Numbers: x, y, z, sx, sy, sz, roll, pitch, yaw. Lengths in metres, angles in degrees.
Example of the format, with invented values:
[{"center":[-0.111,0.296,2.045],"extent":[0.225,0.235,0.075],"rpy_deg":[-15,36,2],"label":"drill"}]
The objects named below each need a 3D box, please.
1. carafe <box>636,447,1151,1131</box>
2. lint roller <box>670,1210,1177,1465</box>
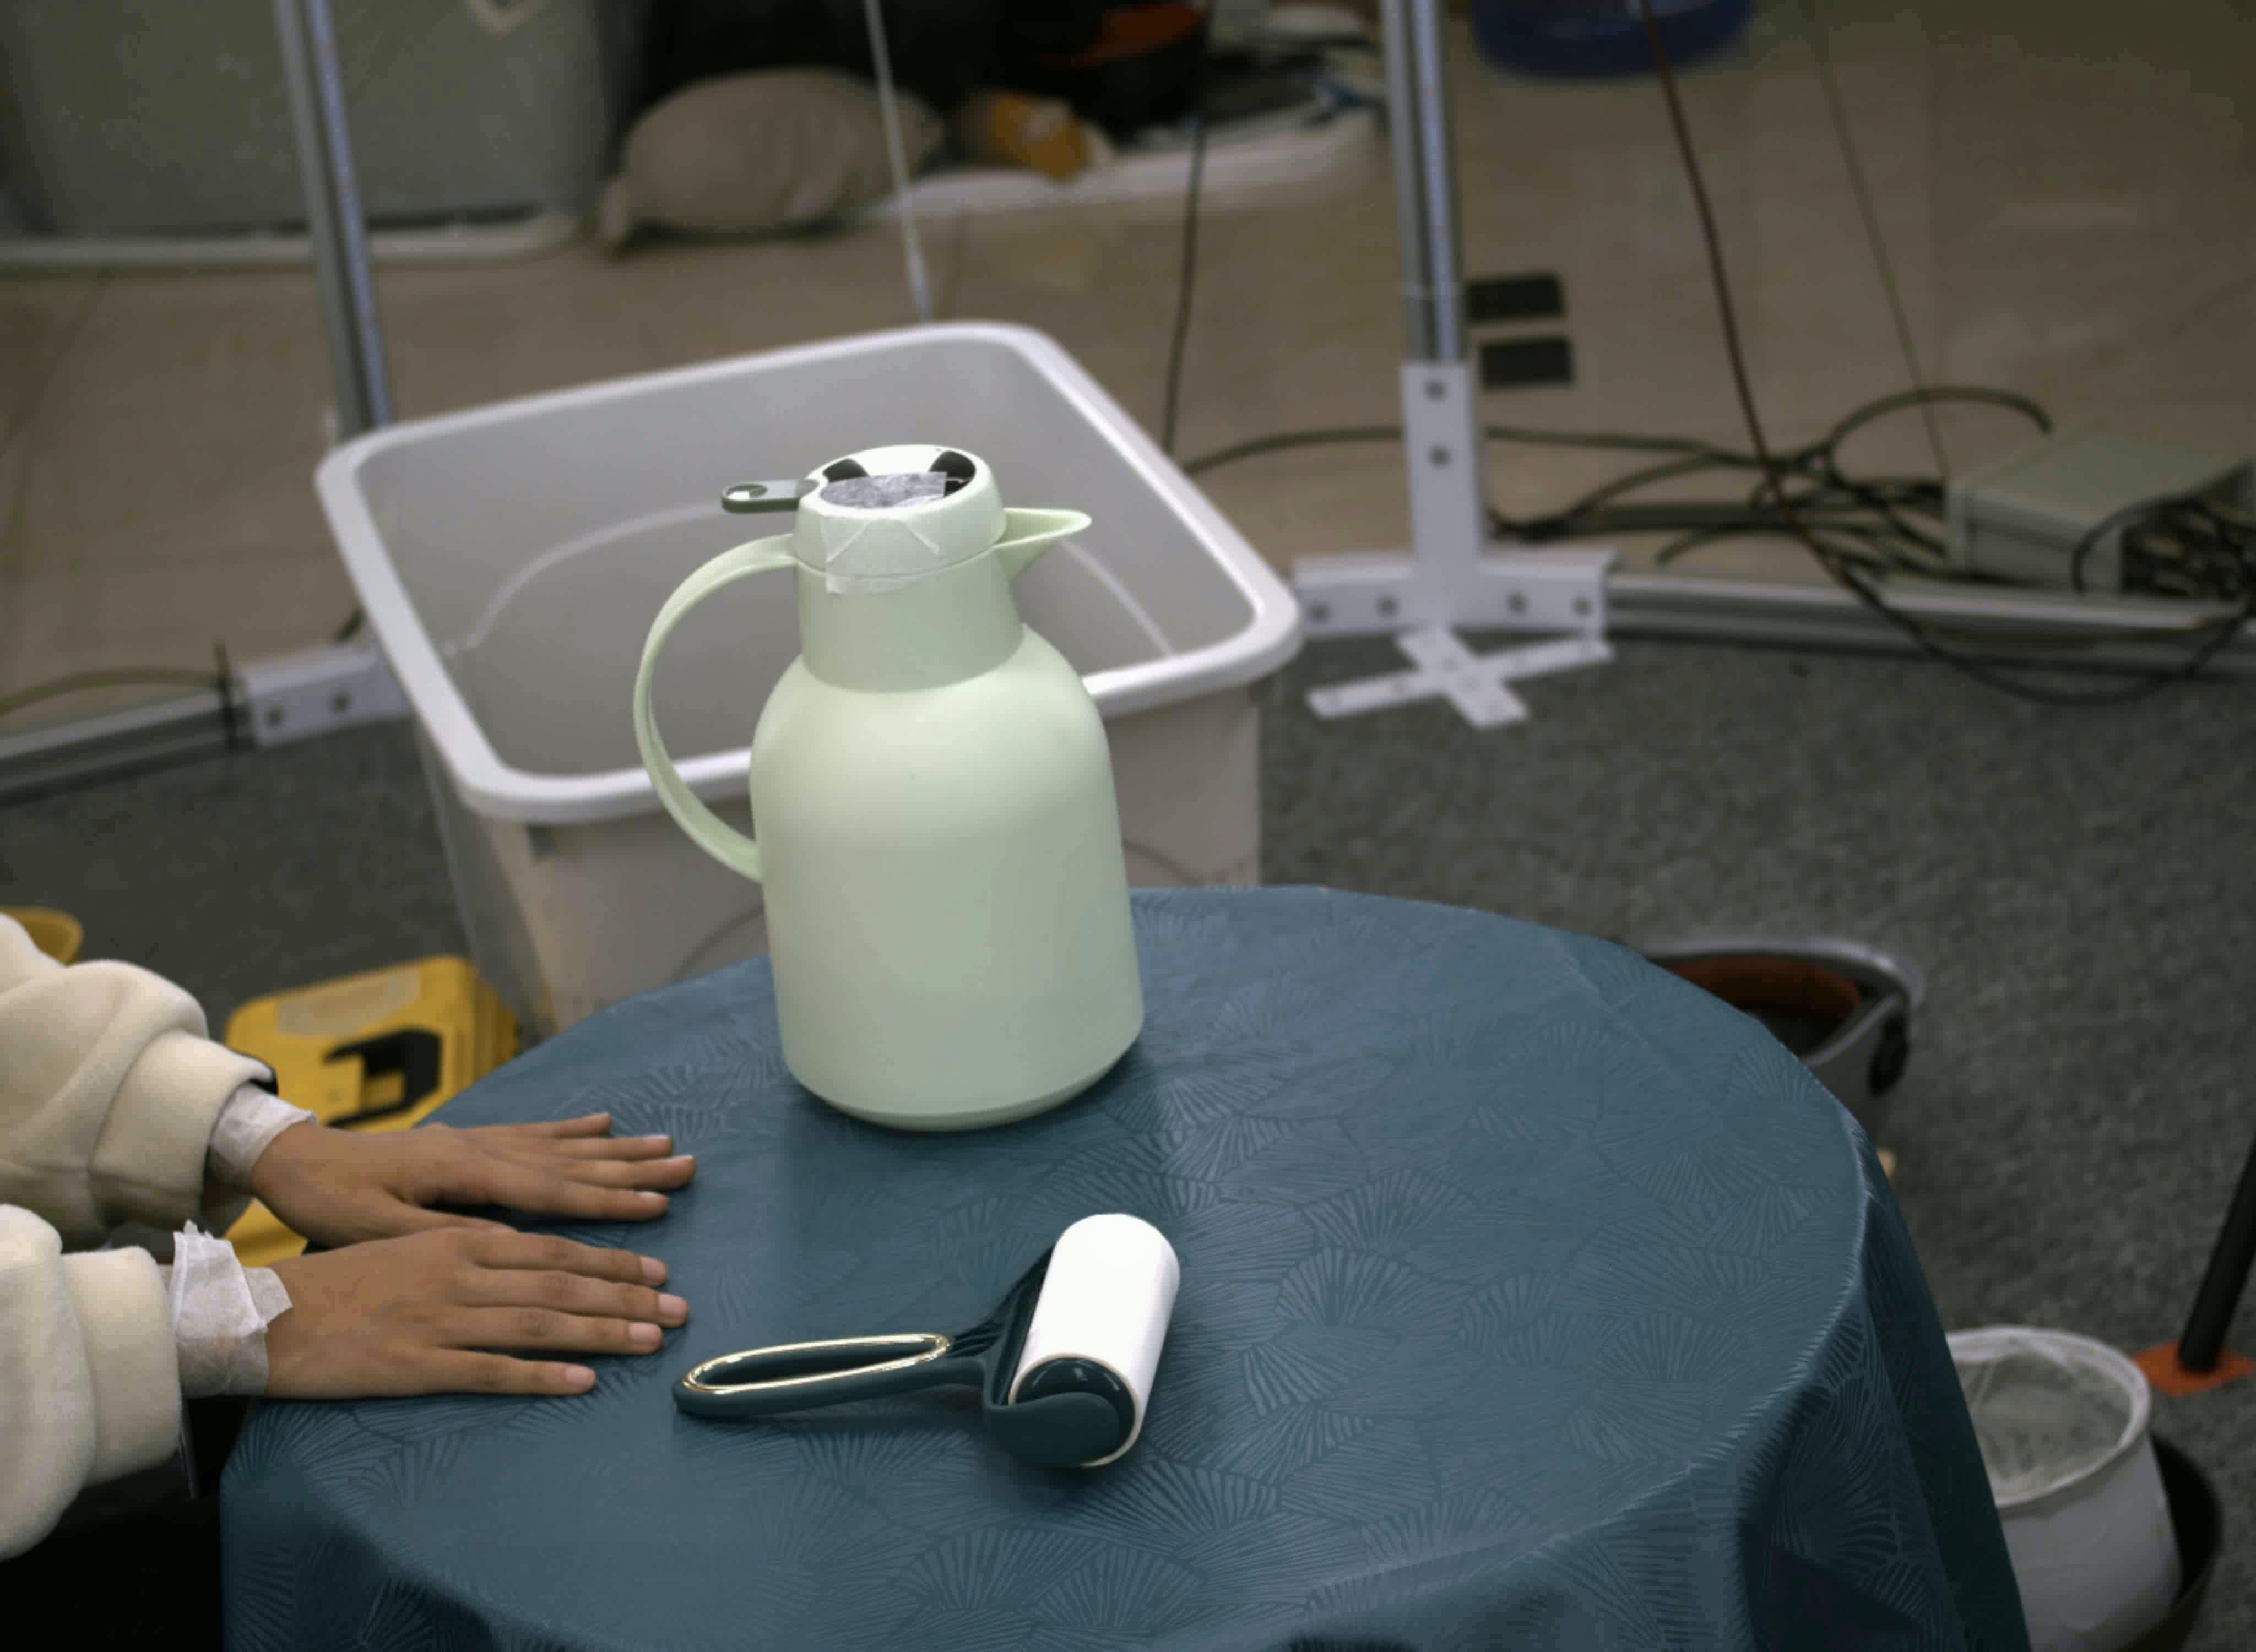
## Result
[{"center":[-0.090,-0.018,2.207],"extent":[0.186,0.261,0.142],"rpy_deg":[-8,27,5],"label":"carafe"},{"center":[-0.078,0.182,2.015],"extent":[0.180,0.049,0.132],"rpy_deg":[-1,24,10],"label":"lint roller"}]
